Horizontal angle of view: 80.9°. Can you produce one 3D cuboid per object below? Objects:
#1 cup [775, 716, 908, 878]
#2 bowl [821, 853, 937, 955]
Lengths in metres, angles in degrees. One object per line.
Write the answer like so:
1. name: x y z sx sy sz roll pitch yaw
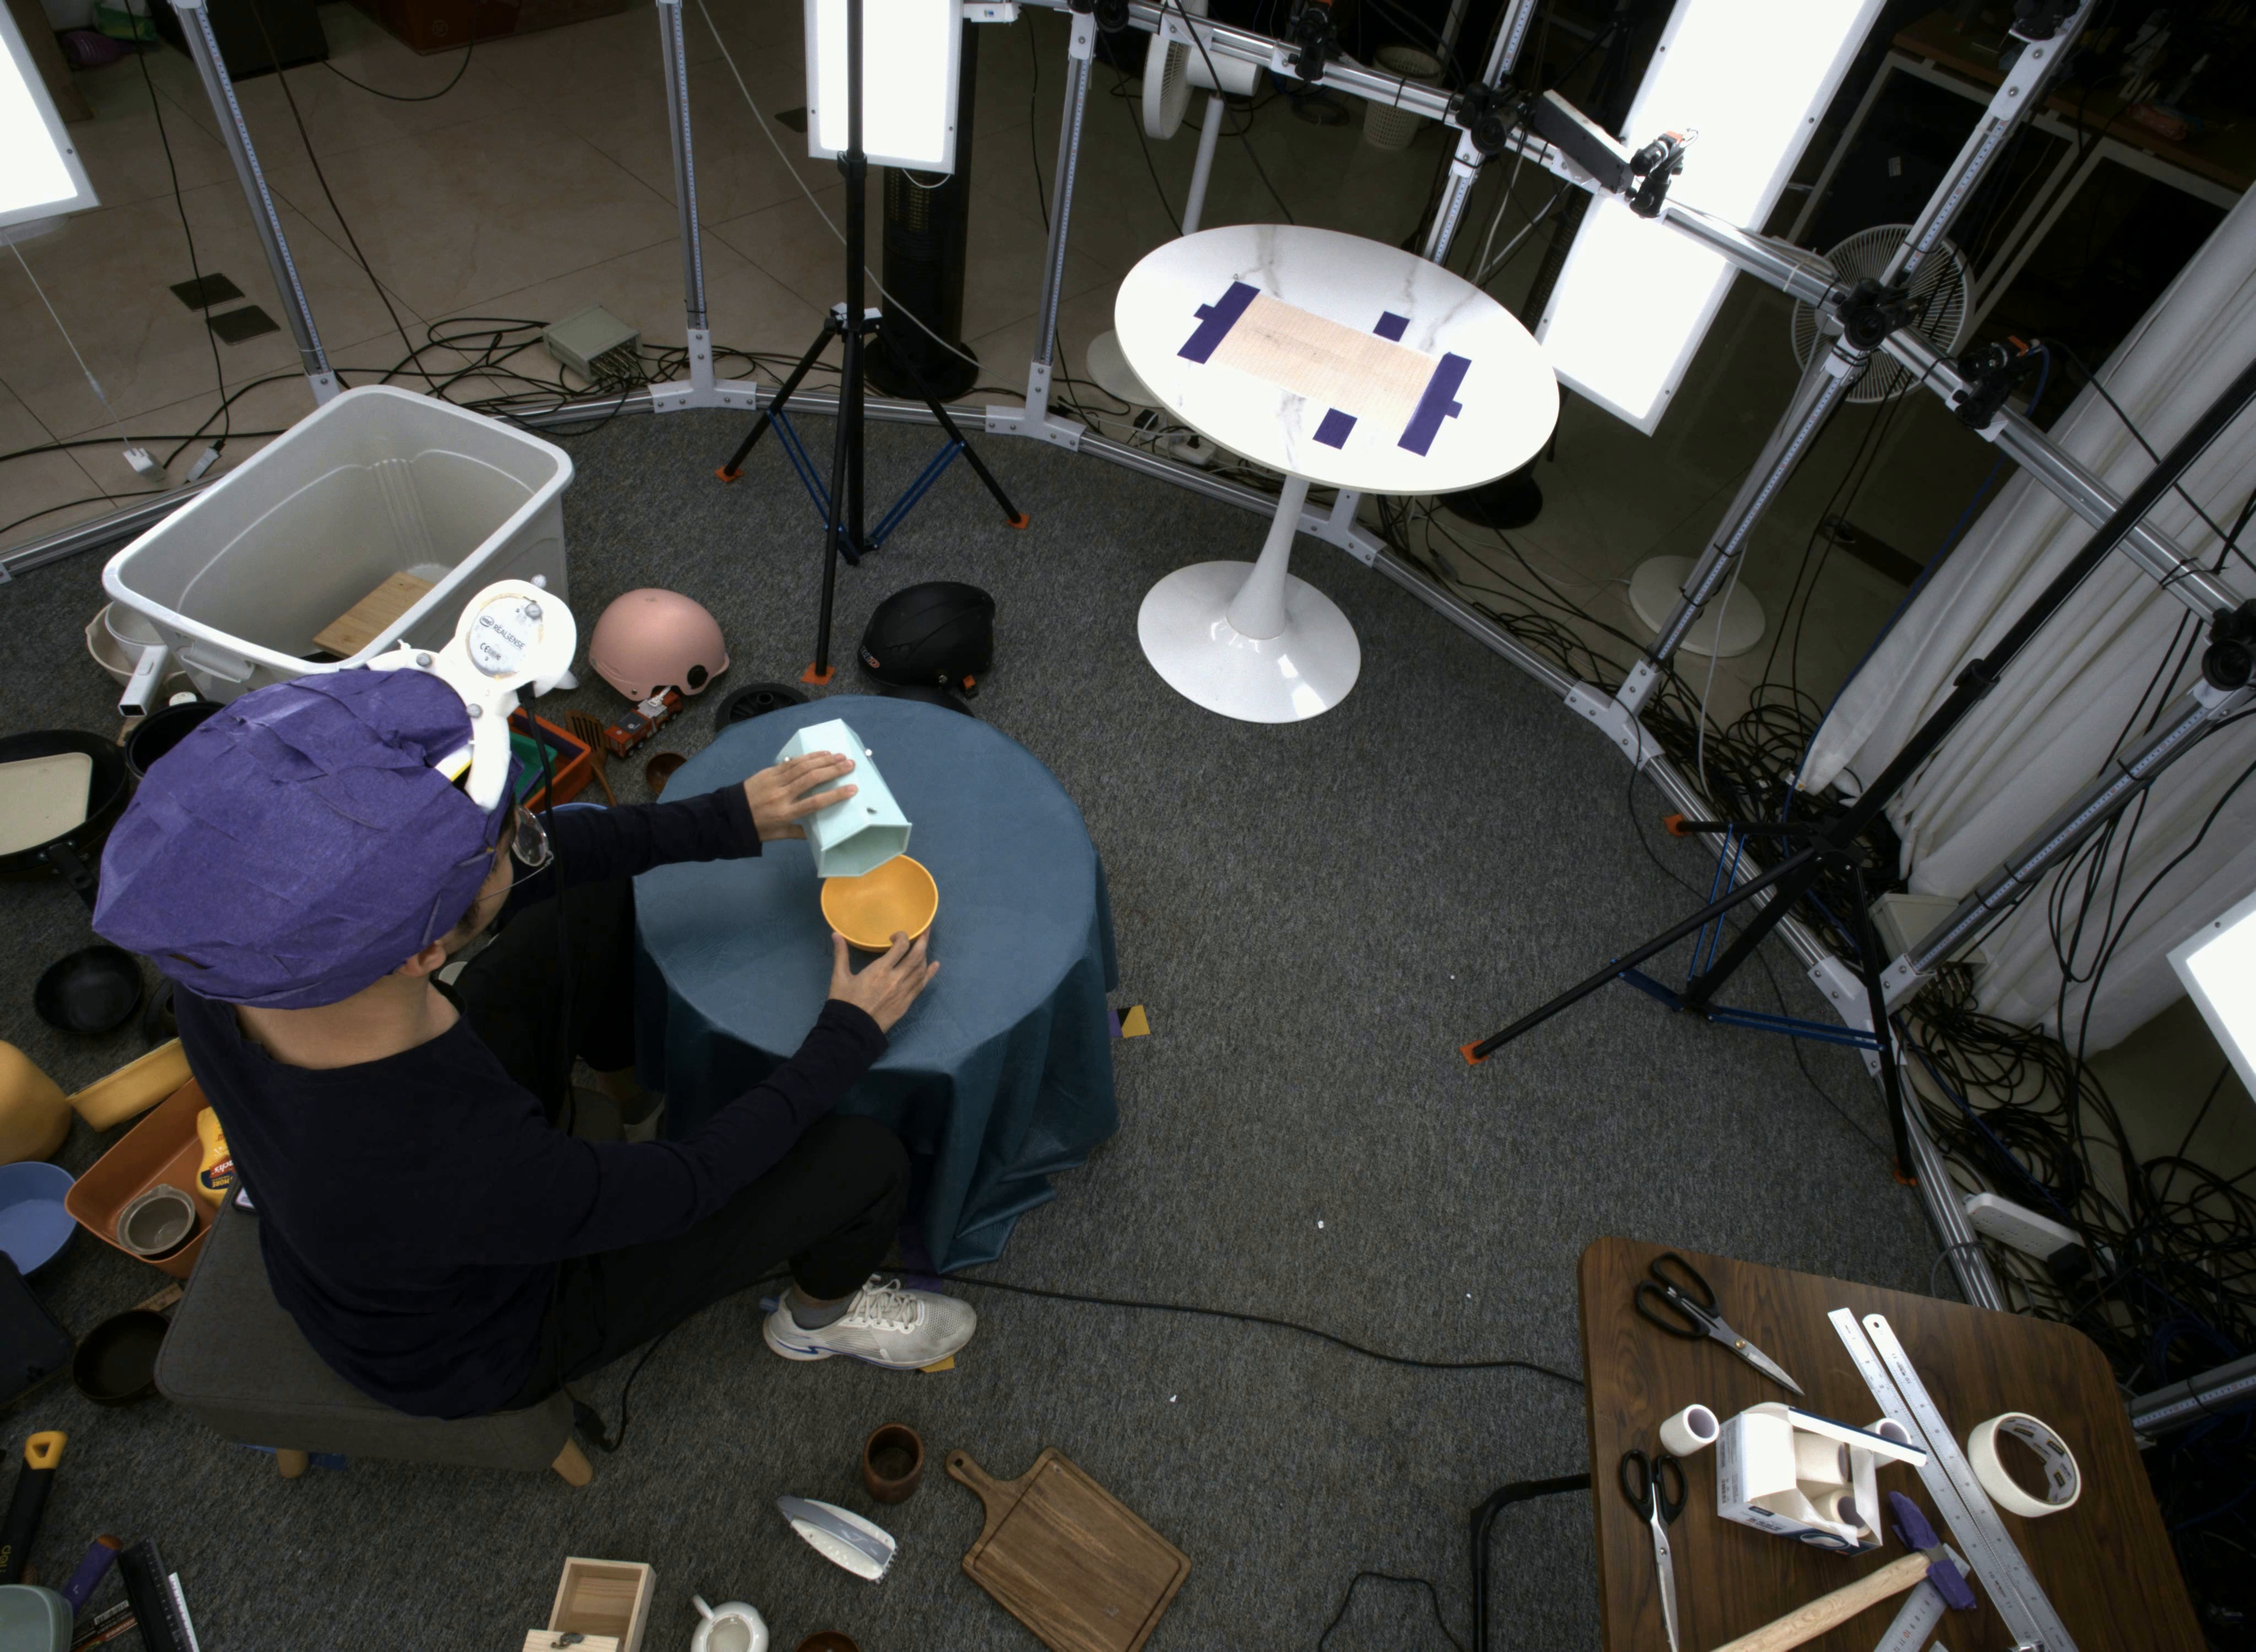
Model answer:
1. cup: -0.351 -0.039 1.576 0.116 0.133 0.160 -18 66 -24
2. bowl: -0.312 0.107 1.638 0.145 0.061 0.143 6 54 -7
